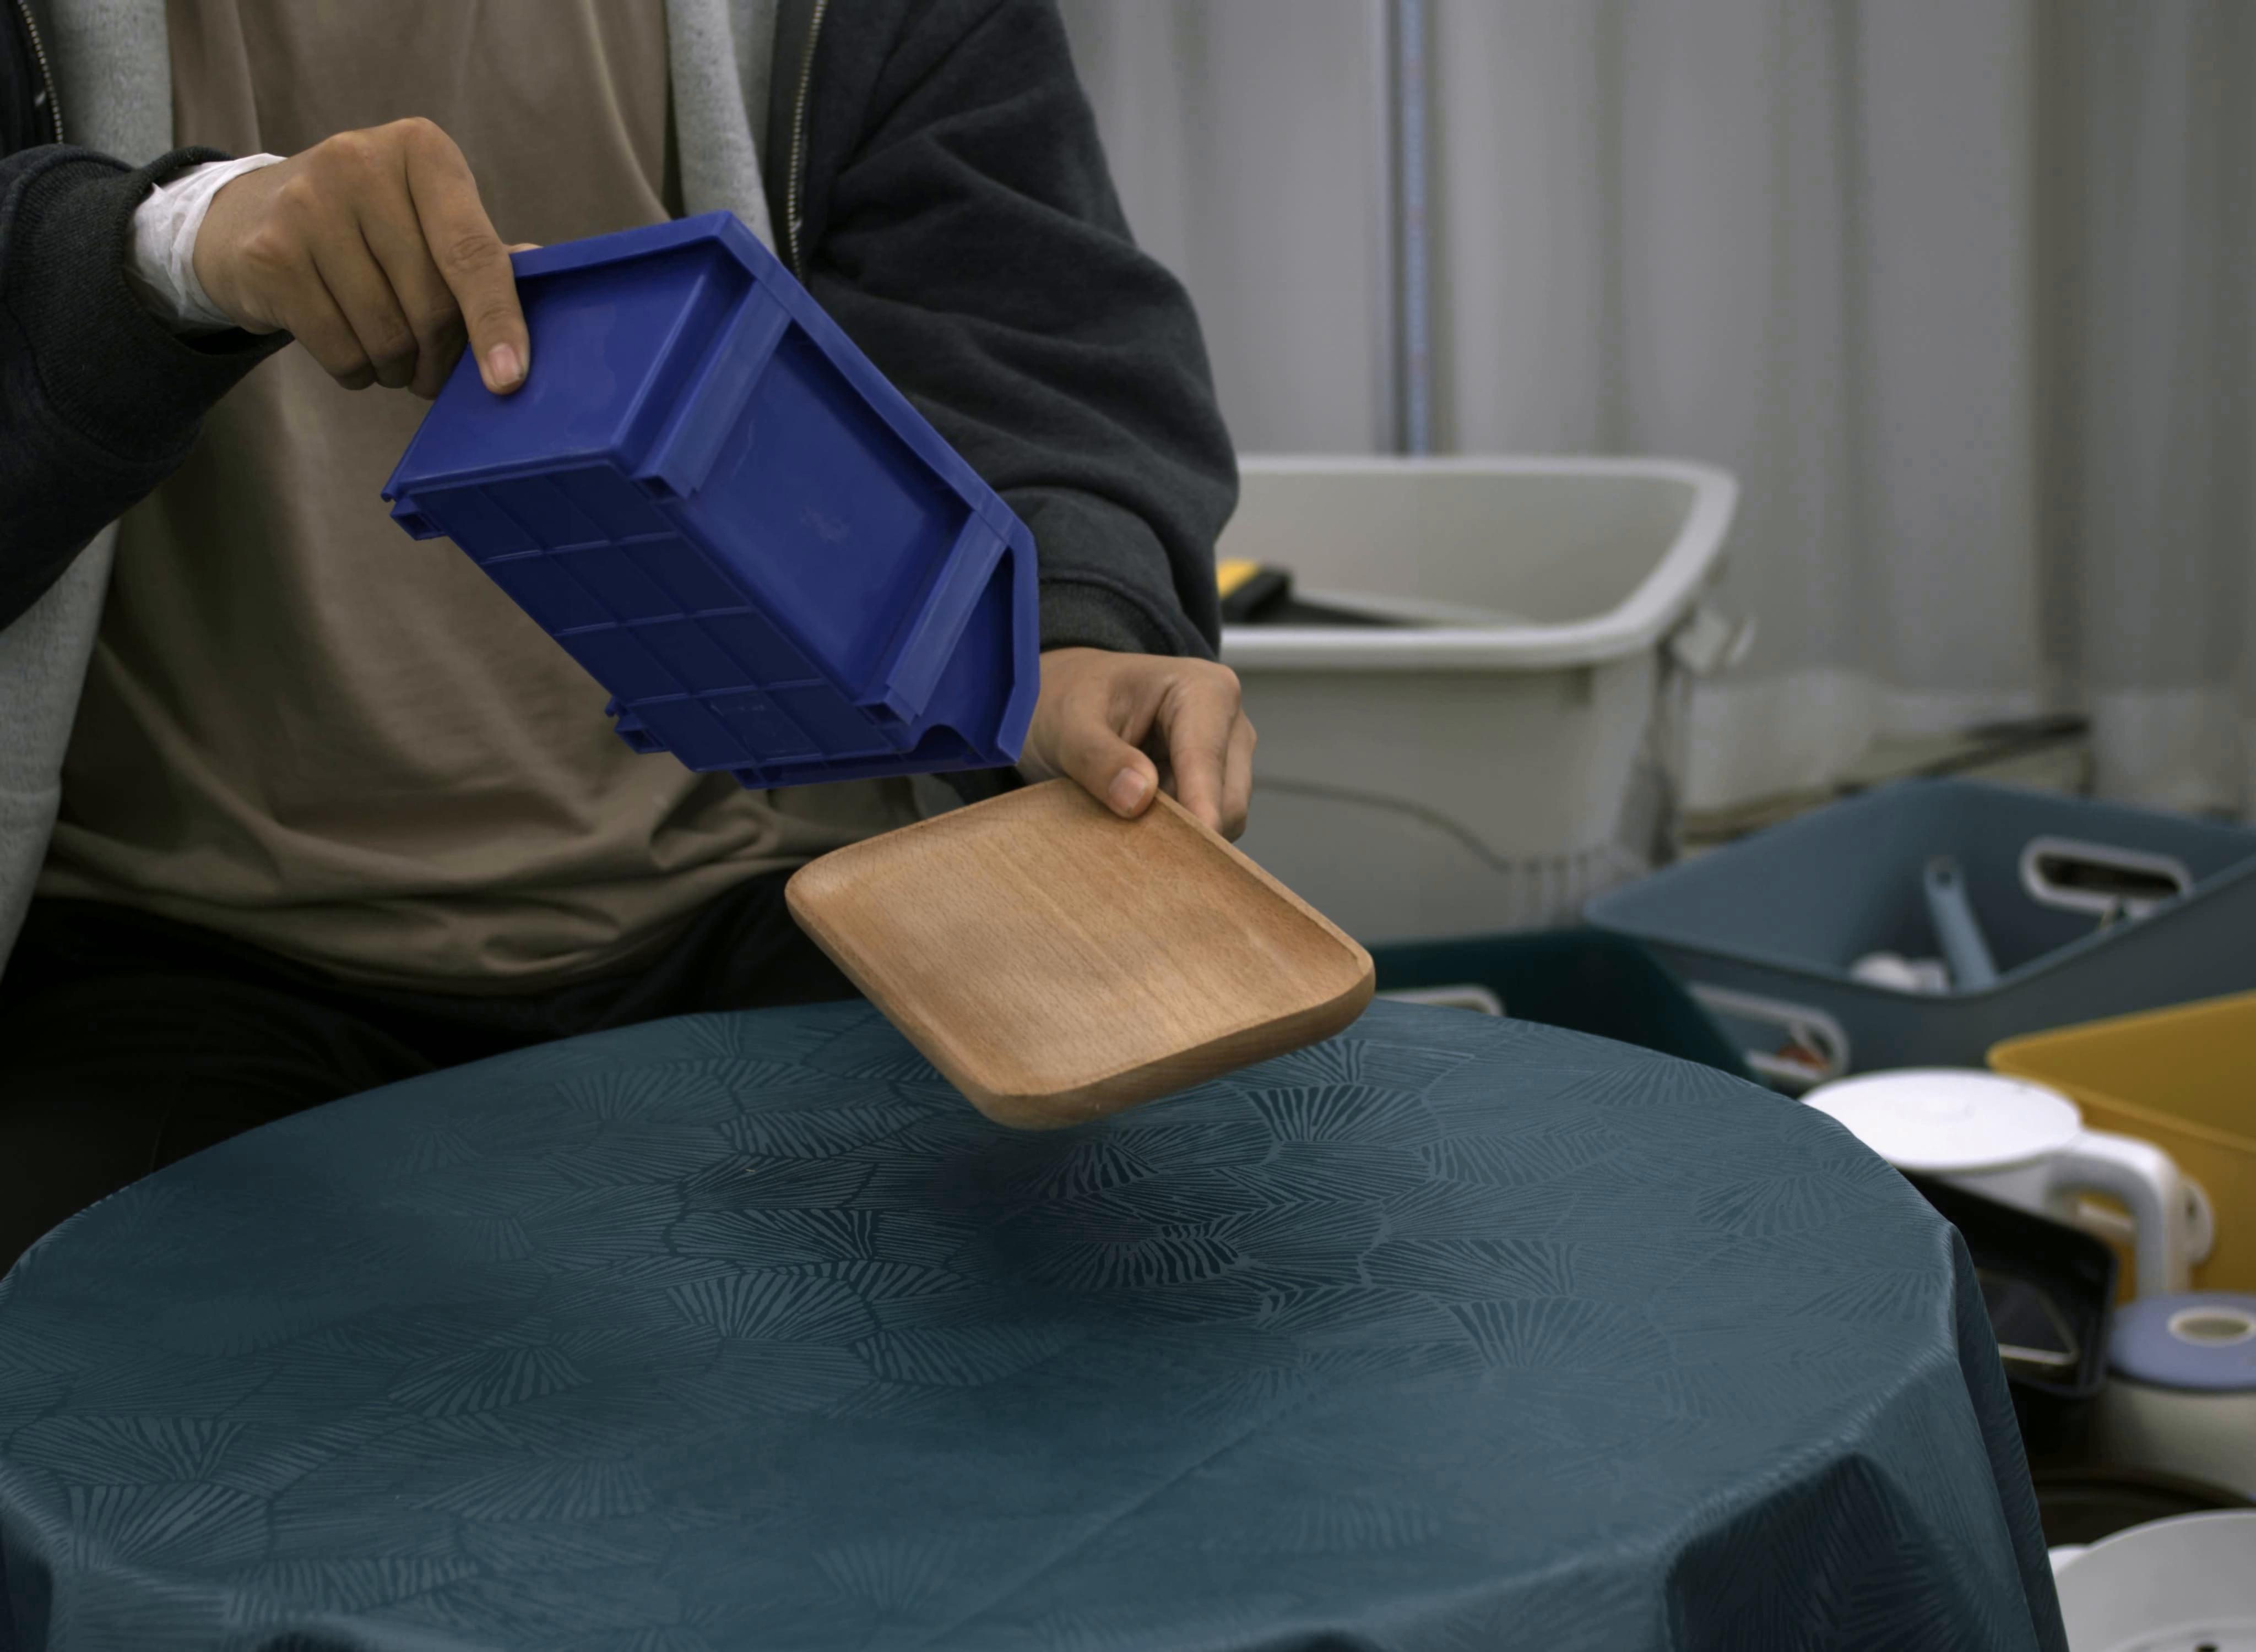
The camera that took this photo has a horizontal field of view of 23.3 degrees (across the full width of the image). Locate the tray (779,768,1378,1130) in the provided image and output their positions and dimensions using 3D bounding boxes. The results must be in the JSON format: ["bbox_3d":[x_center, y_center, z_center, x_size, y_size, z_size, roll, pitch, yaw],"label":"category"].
[{"bbox_3d":[-0.019,0.035,1.679,0.130,0.023,0.253,-16,19,-15],"label":"tray"}]

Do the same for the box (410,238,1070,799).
[{"bbox_3d":[-0.113,-0.080,1.628,0.124,0.083,0.177,-8,-39,46],"label":"box"}]
